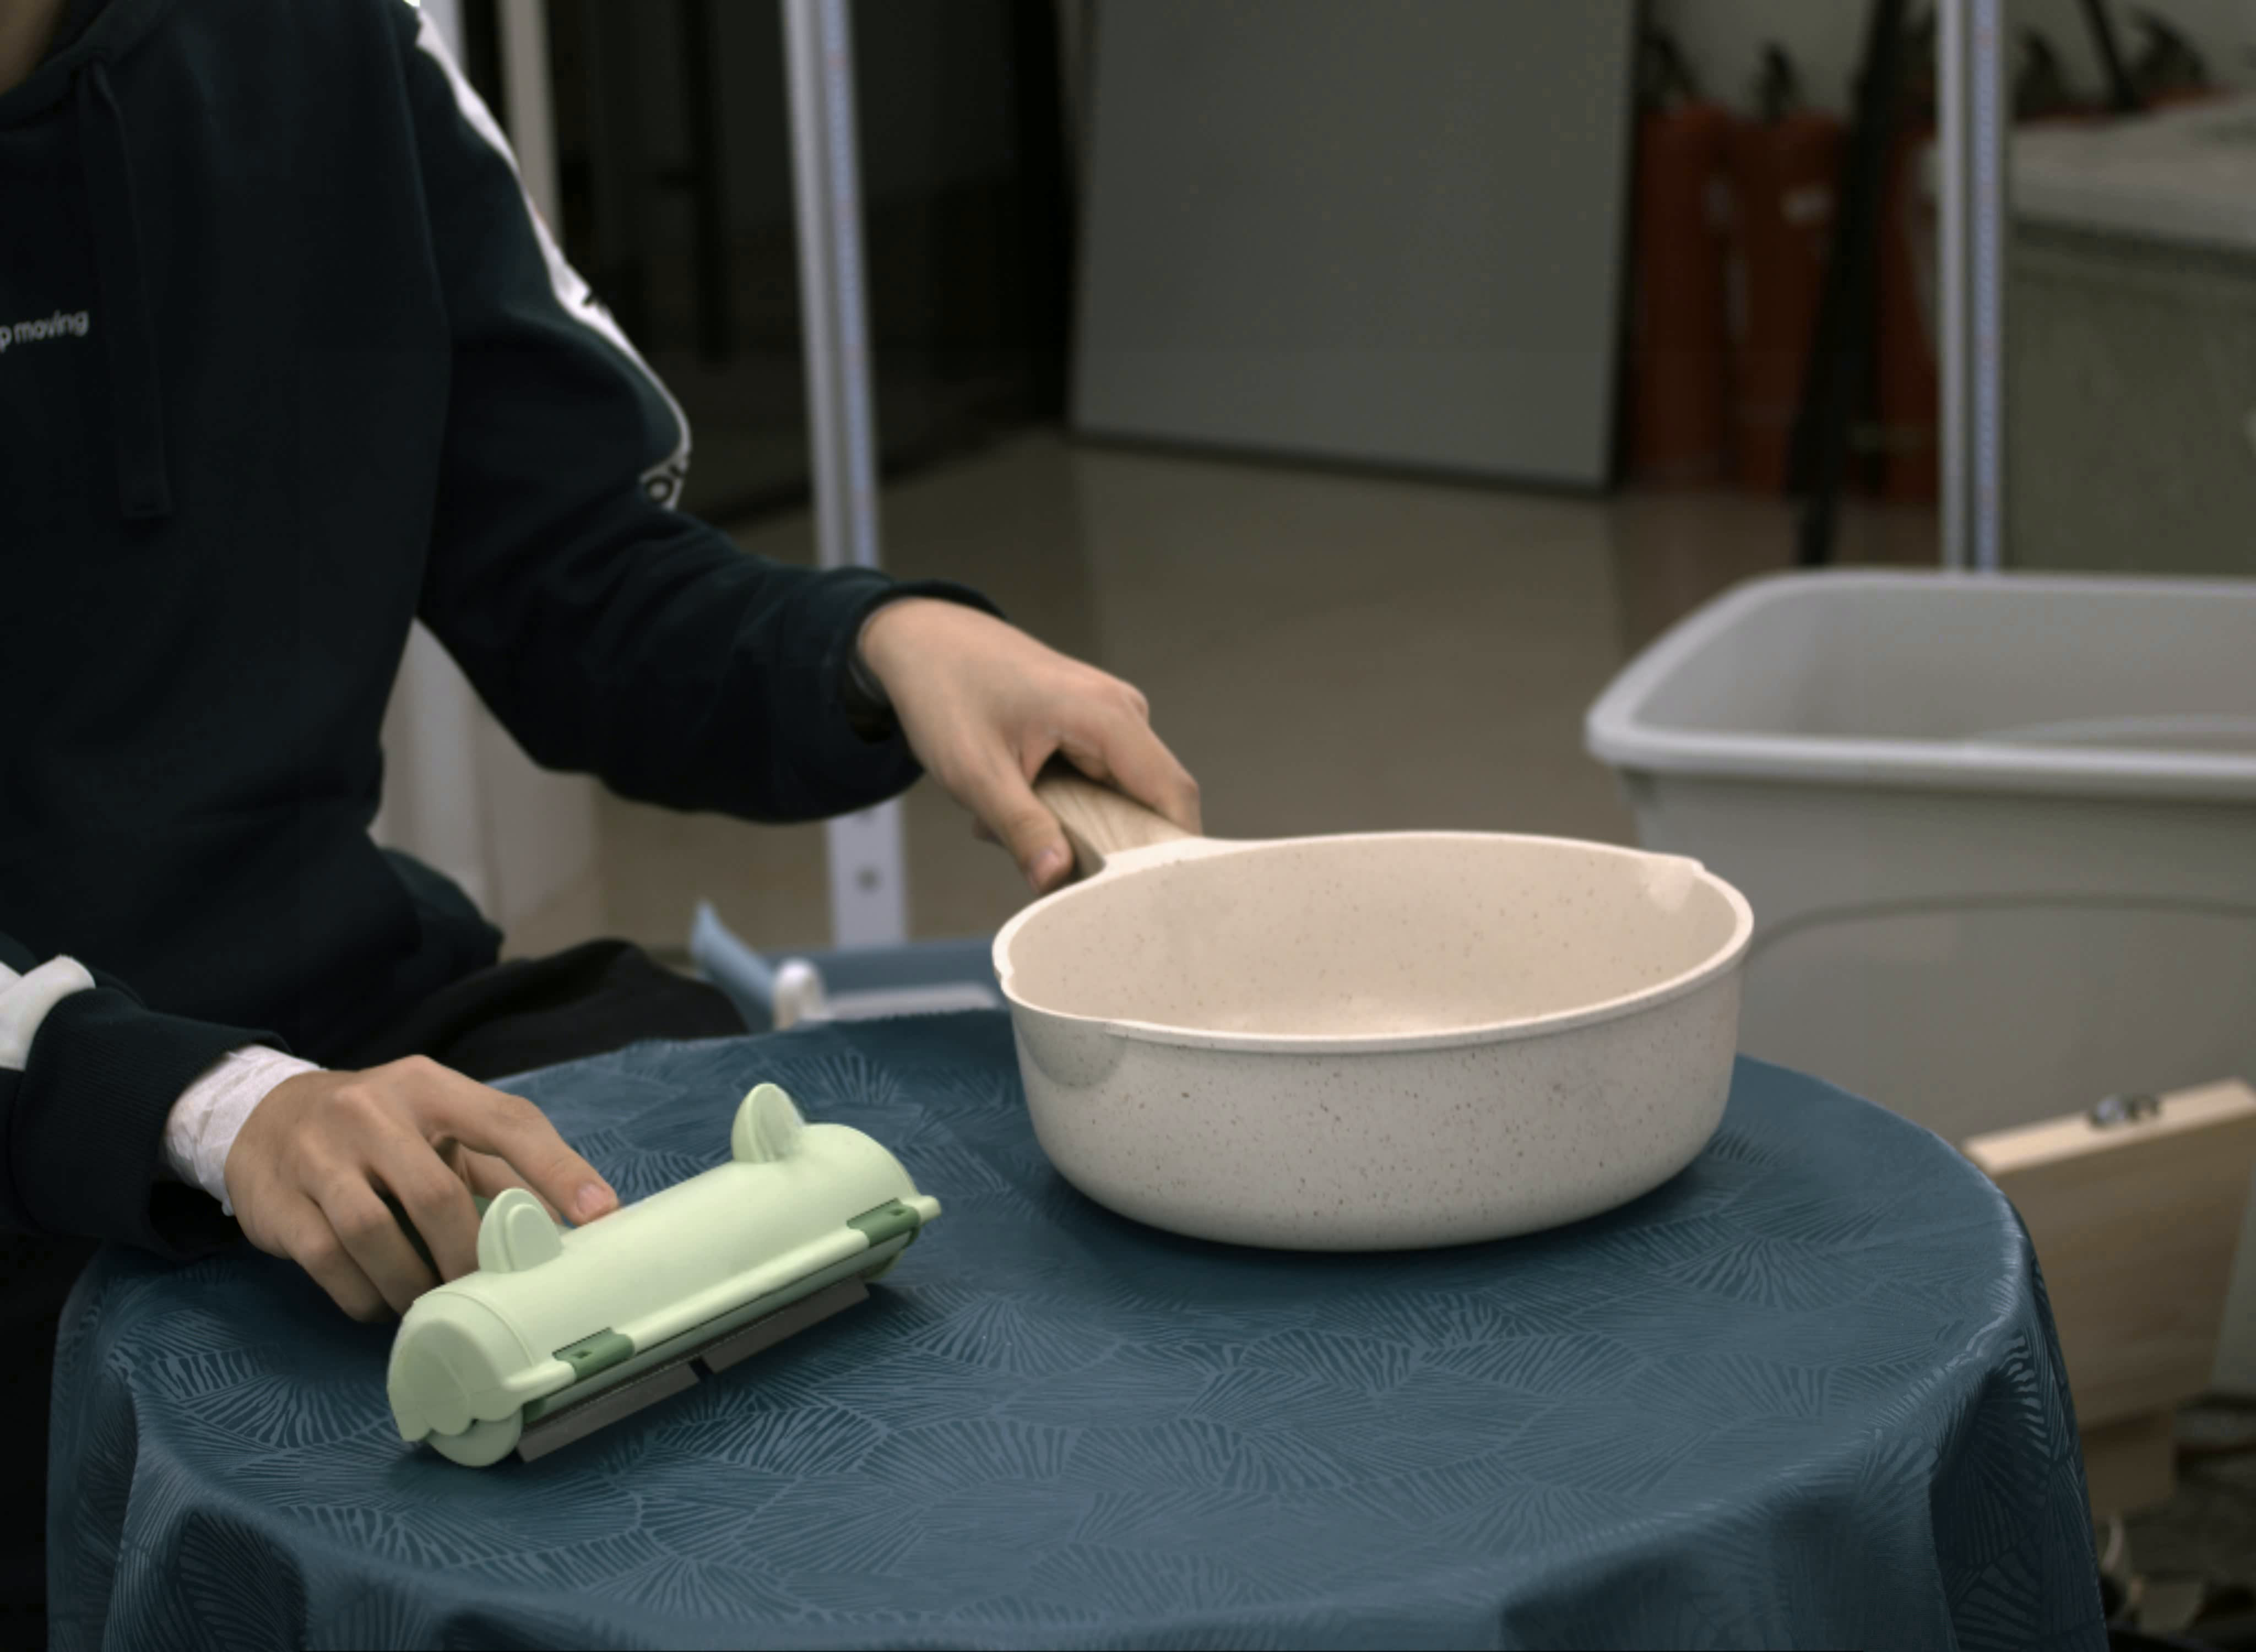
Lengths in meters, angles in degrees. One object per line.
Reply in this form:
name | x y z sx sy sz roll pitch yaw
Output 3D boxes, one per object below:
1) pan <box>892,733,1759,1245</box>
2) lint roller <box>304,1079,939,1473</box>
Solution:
pan | 0.038 0.048 1.849 0.258 0.103 0.439 -13 15 -28
lint roller | -0.183 0.119 1.655 0.184 0.083 0.195 18 24 34
